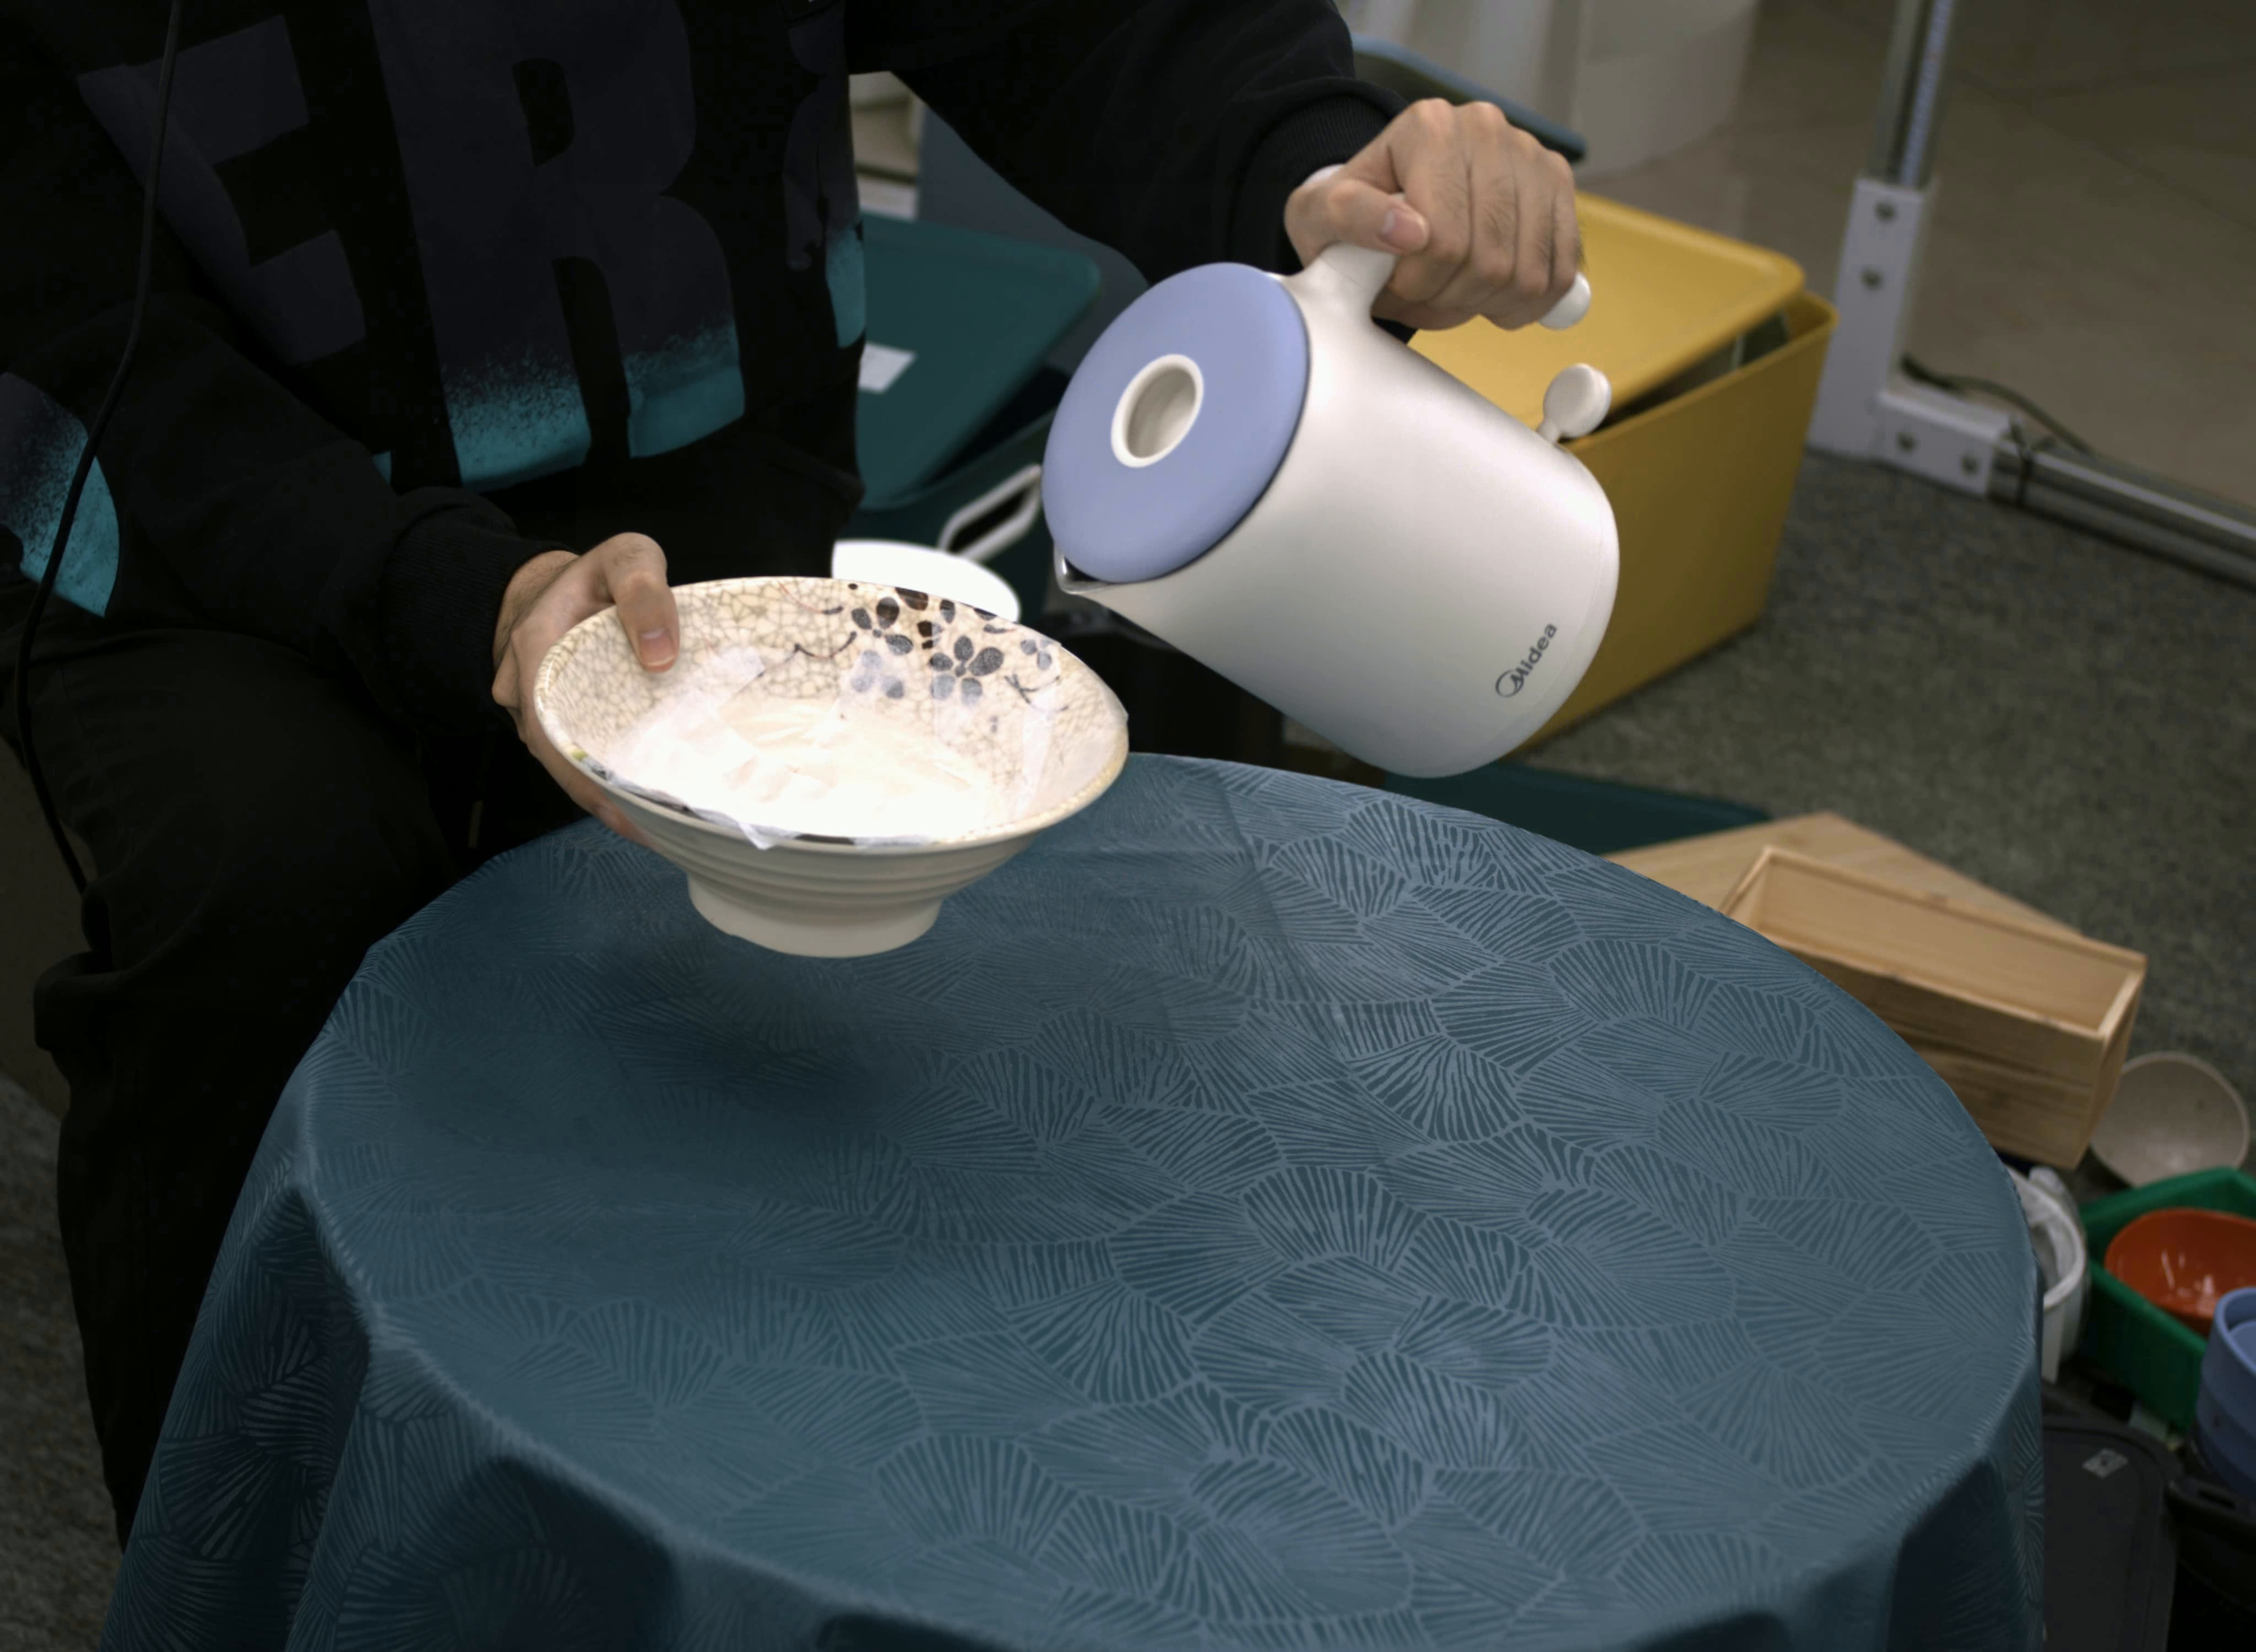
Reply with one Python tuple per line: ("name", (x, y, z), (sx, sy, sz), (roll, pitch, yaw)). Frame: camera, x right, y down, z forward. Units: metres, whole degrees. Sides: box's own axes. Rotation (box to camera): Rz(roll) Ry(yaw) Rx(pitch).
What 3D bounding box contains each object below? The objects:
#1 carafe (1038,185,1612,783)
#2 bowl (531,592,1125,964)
("carafe", (0.083, -0.125, 1.840), (0.181, 0.191, 0.133), (34, 4, -40))
("bowl", (-0.105, -0.006, 1.825), (0.203, 0.078, 0.205), (5, 24, -3))
